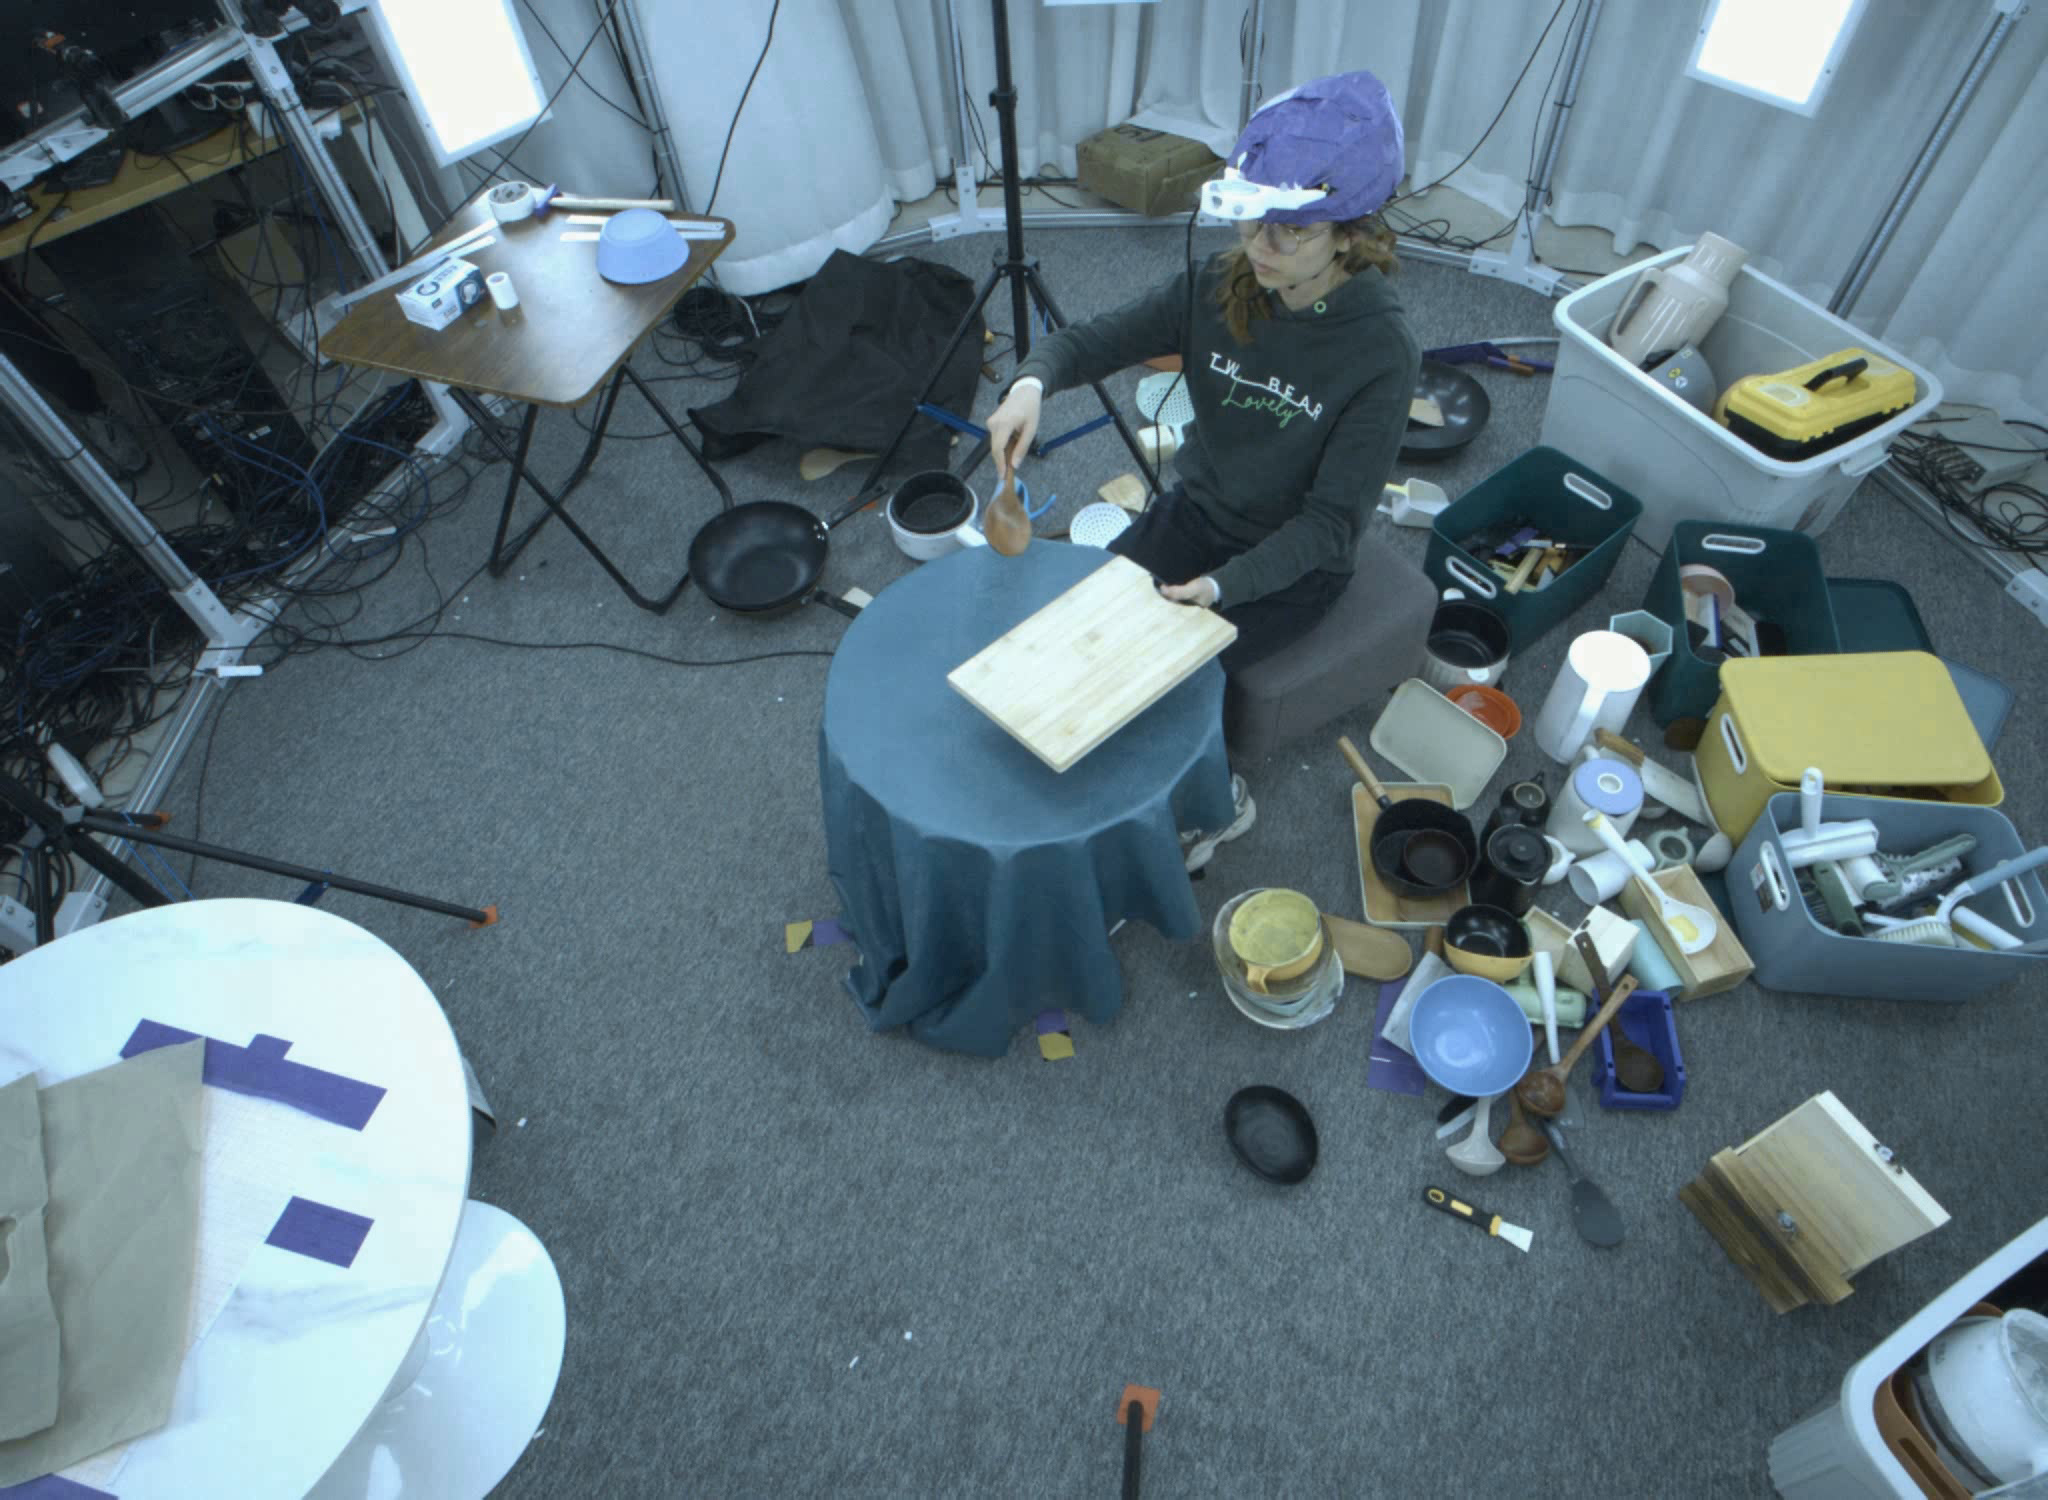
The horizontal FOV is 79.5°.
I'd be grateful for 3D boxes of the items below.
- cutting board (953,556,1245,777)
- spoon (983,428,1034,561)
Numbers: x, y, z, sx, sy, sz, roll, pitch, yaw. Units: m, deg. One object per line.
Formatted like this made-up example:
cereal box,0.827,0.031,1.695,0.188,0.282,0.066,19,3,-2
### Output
cutting board,0.103,-0.128,1.739,0.351,0.024,0.245,-38,57,-22
spoon,-0.021,-0.366,1.744,0.077,0.017,0.214,9,73,-22
